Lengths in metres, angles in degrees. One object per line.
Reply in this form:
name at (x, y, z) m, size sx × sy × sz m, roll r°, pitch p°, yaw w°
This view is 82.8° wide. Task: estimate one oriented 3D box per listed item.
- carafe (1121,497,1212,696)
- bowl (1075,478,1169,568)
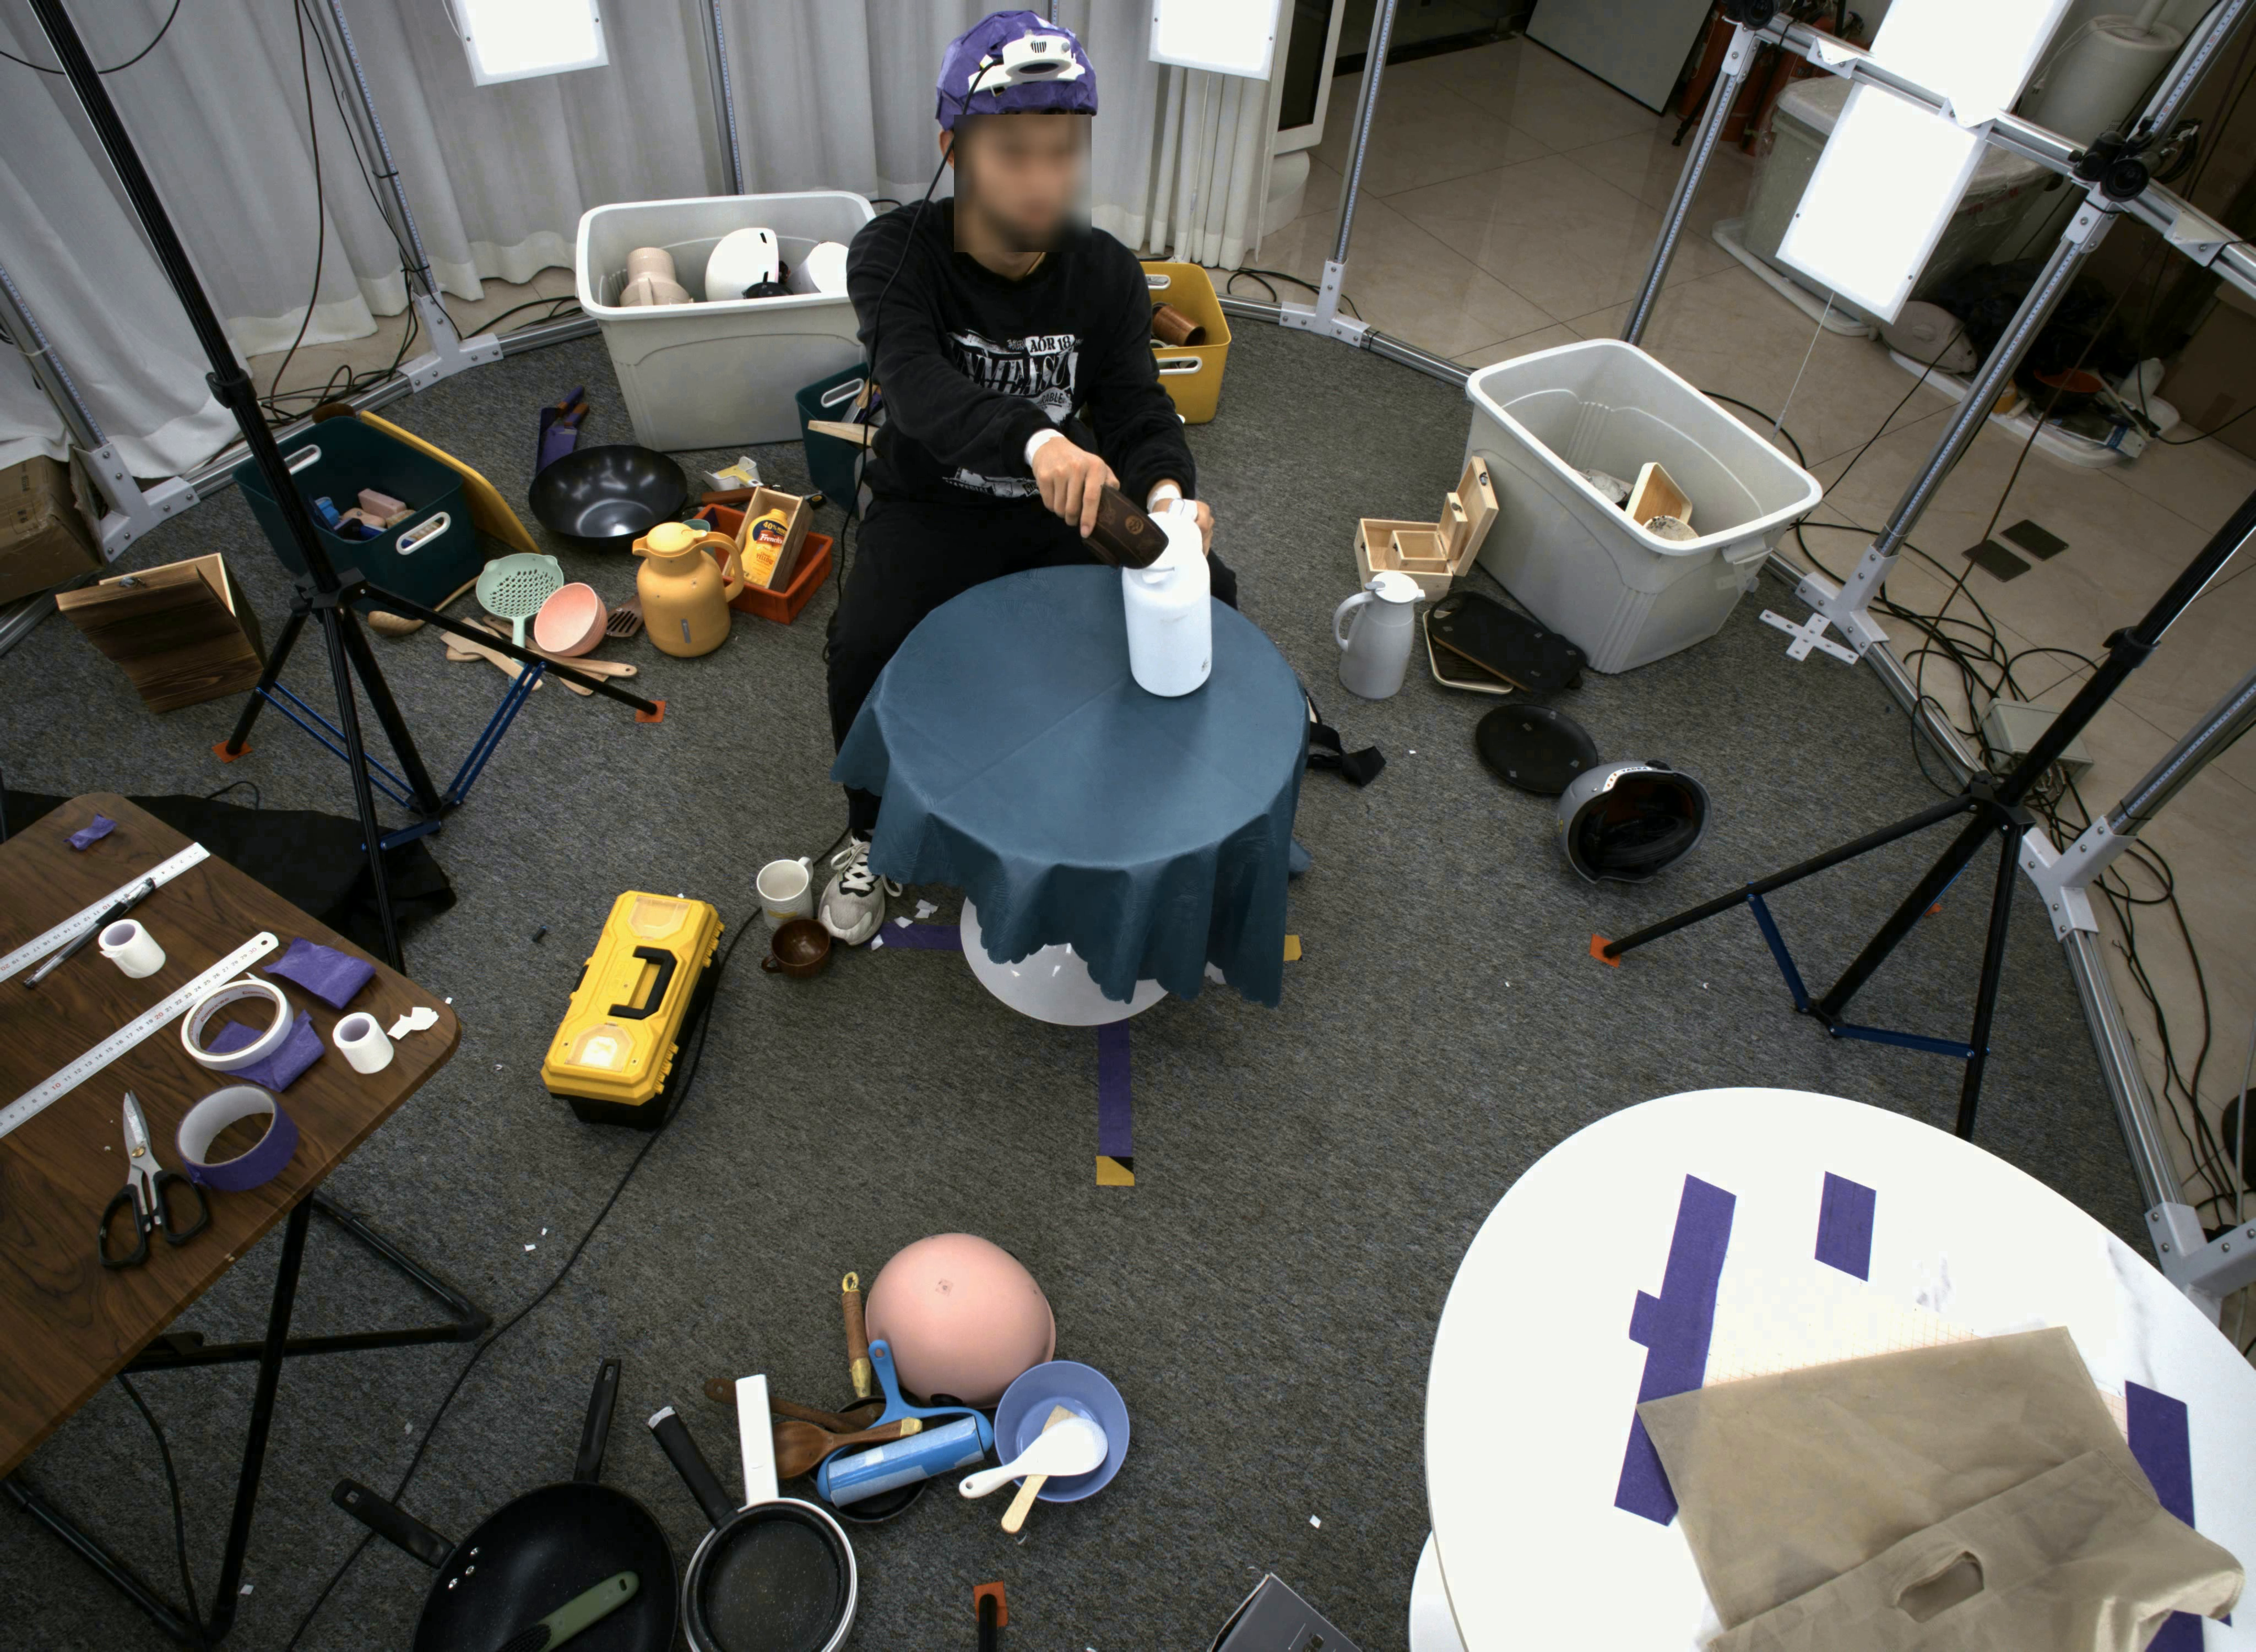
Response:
carafe at (0.057, -0.314, 1.762) m, size 0.124 × 0.262 × 0.176 m, roll 10°, pitch 59°, yaw 14°
bowl at (-0.015, -0.358, 1.567) m, size 0.120 × 0.116 × 0.070 m, roll 39°, pitch 92°, yaw 26°
